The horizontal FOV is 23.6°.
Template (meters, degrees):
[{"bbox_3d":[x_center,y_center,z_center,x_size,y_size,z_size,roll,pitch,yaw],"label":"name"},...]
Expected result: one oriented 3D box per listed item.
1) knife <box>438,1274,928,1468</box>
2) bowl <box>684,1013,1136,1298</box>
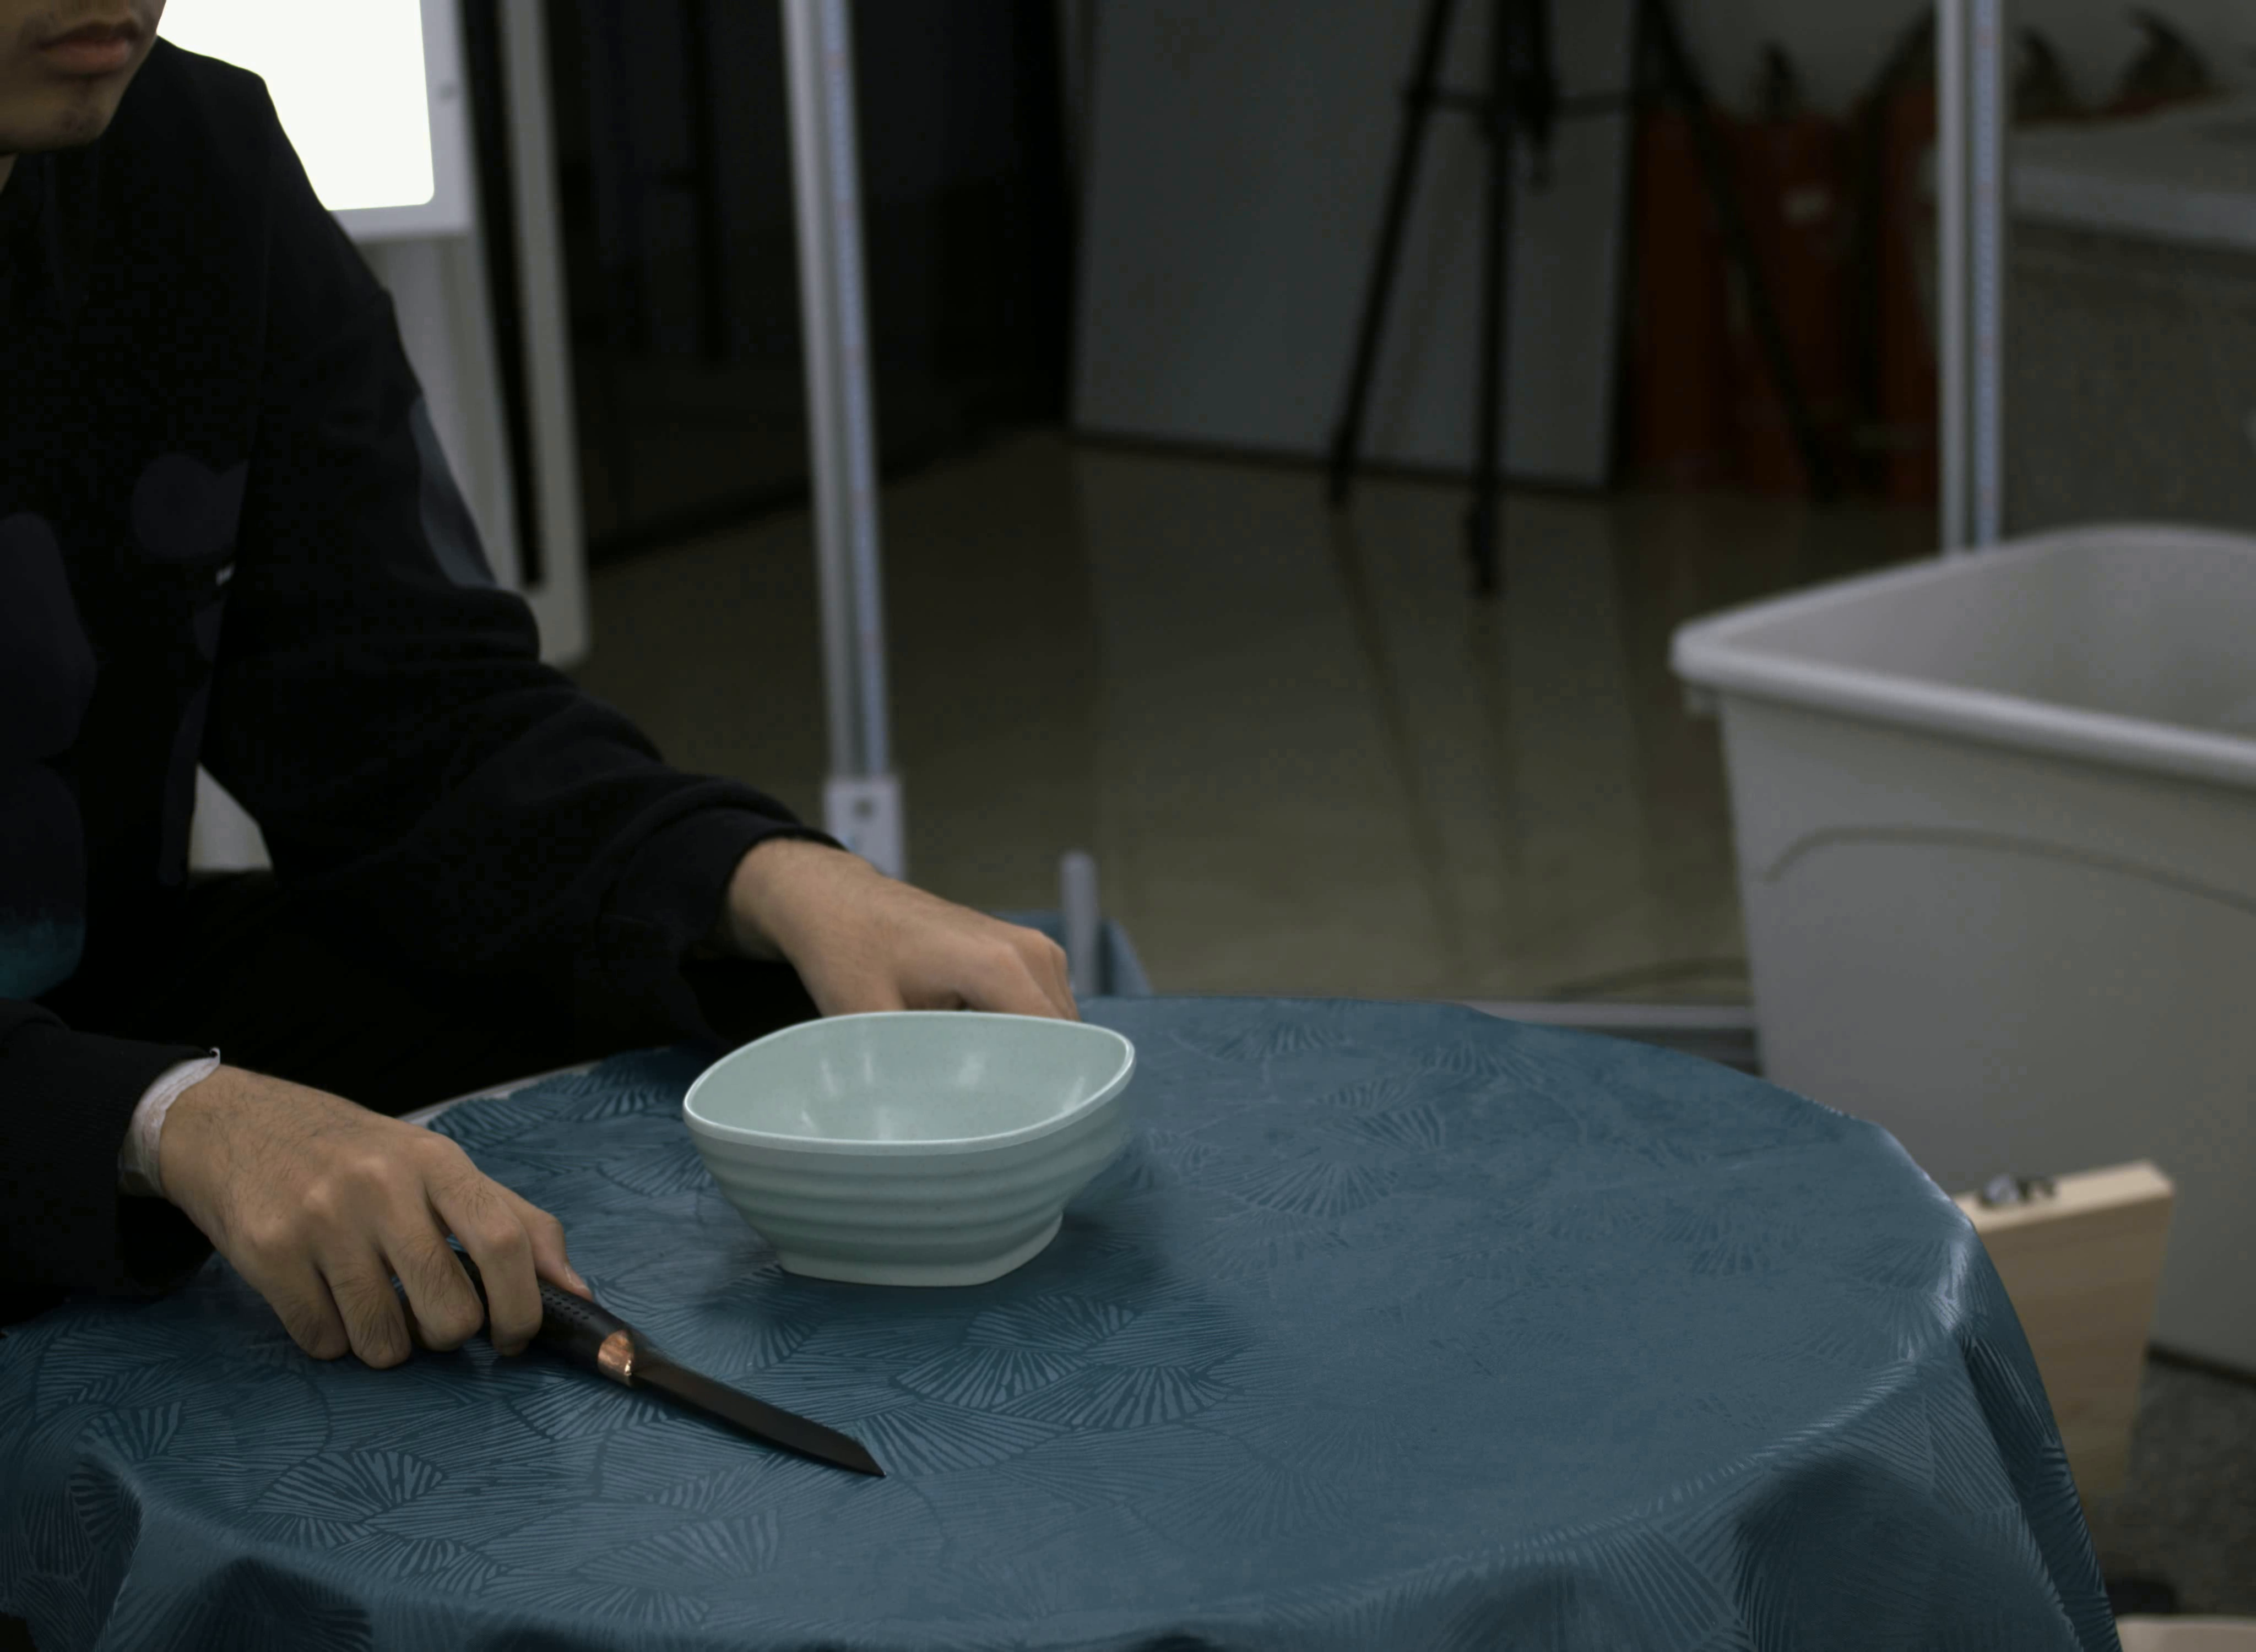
[{"bbox_3d":[-0.136,0.164,1.616,0.025,0.017,0.228,-7,14,-40],"label":"knife"},{"bbox_3d":[-0.067,0.109,1.726,0.149,0.059,0.152,-4,15,0],"label":"bowl"}]
